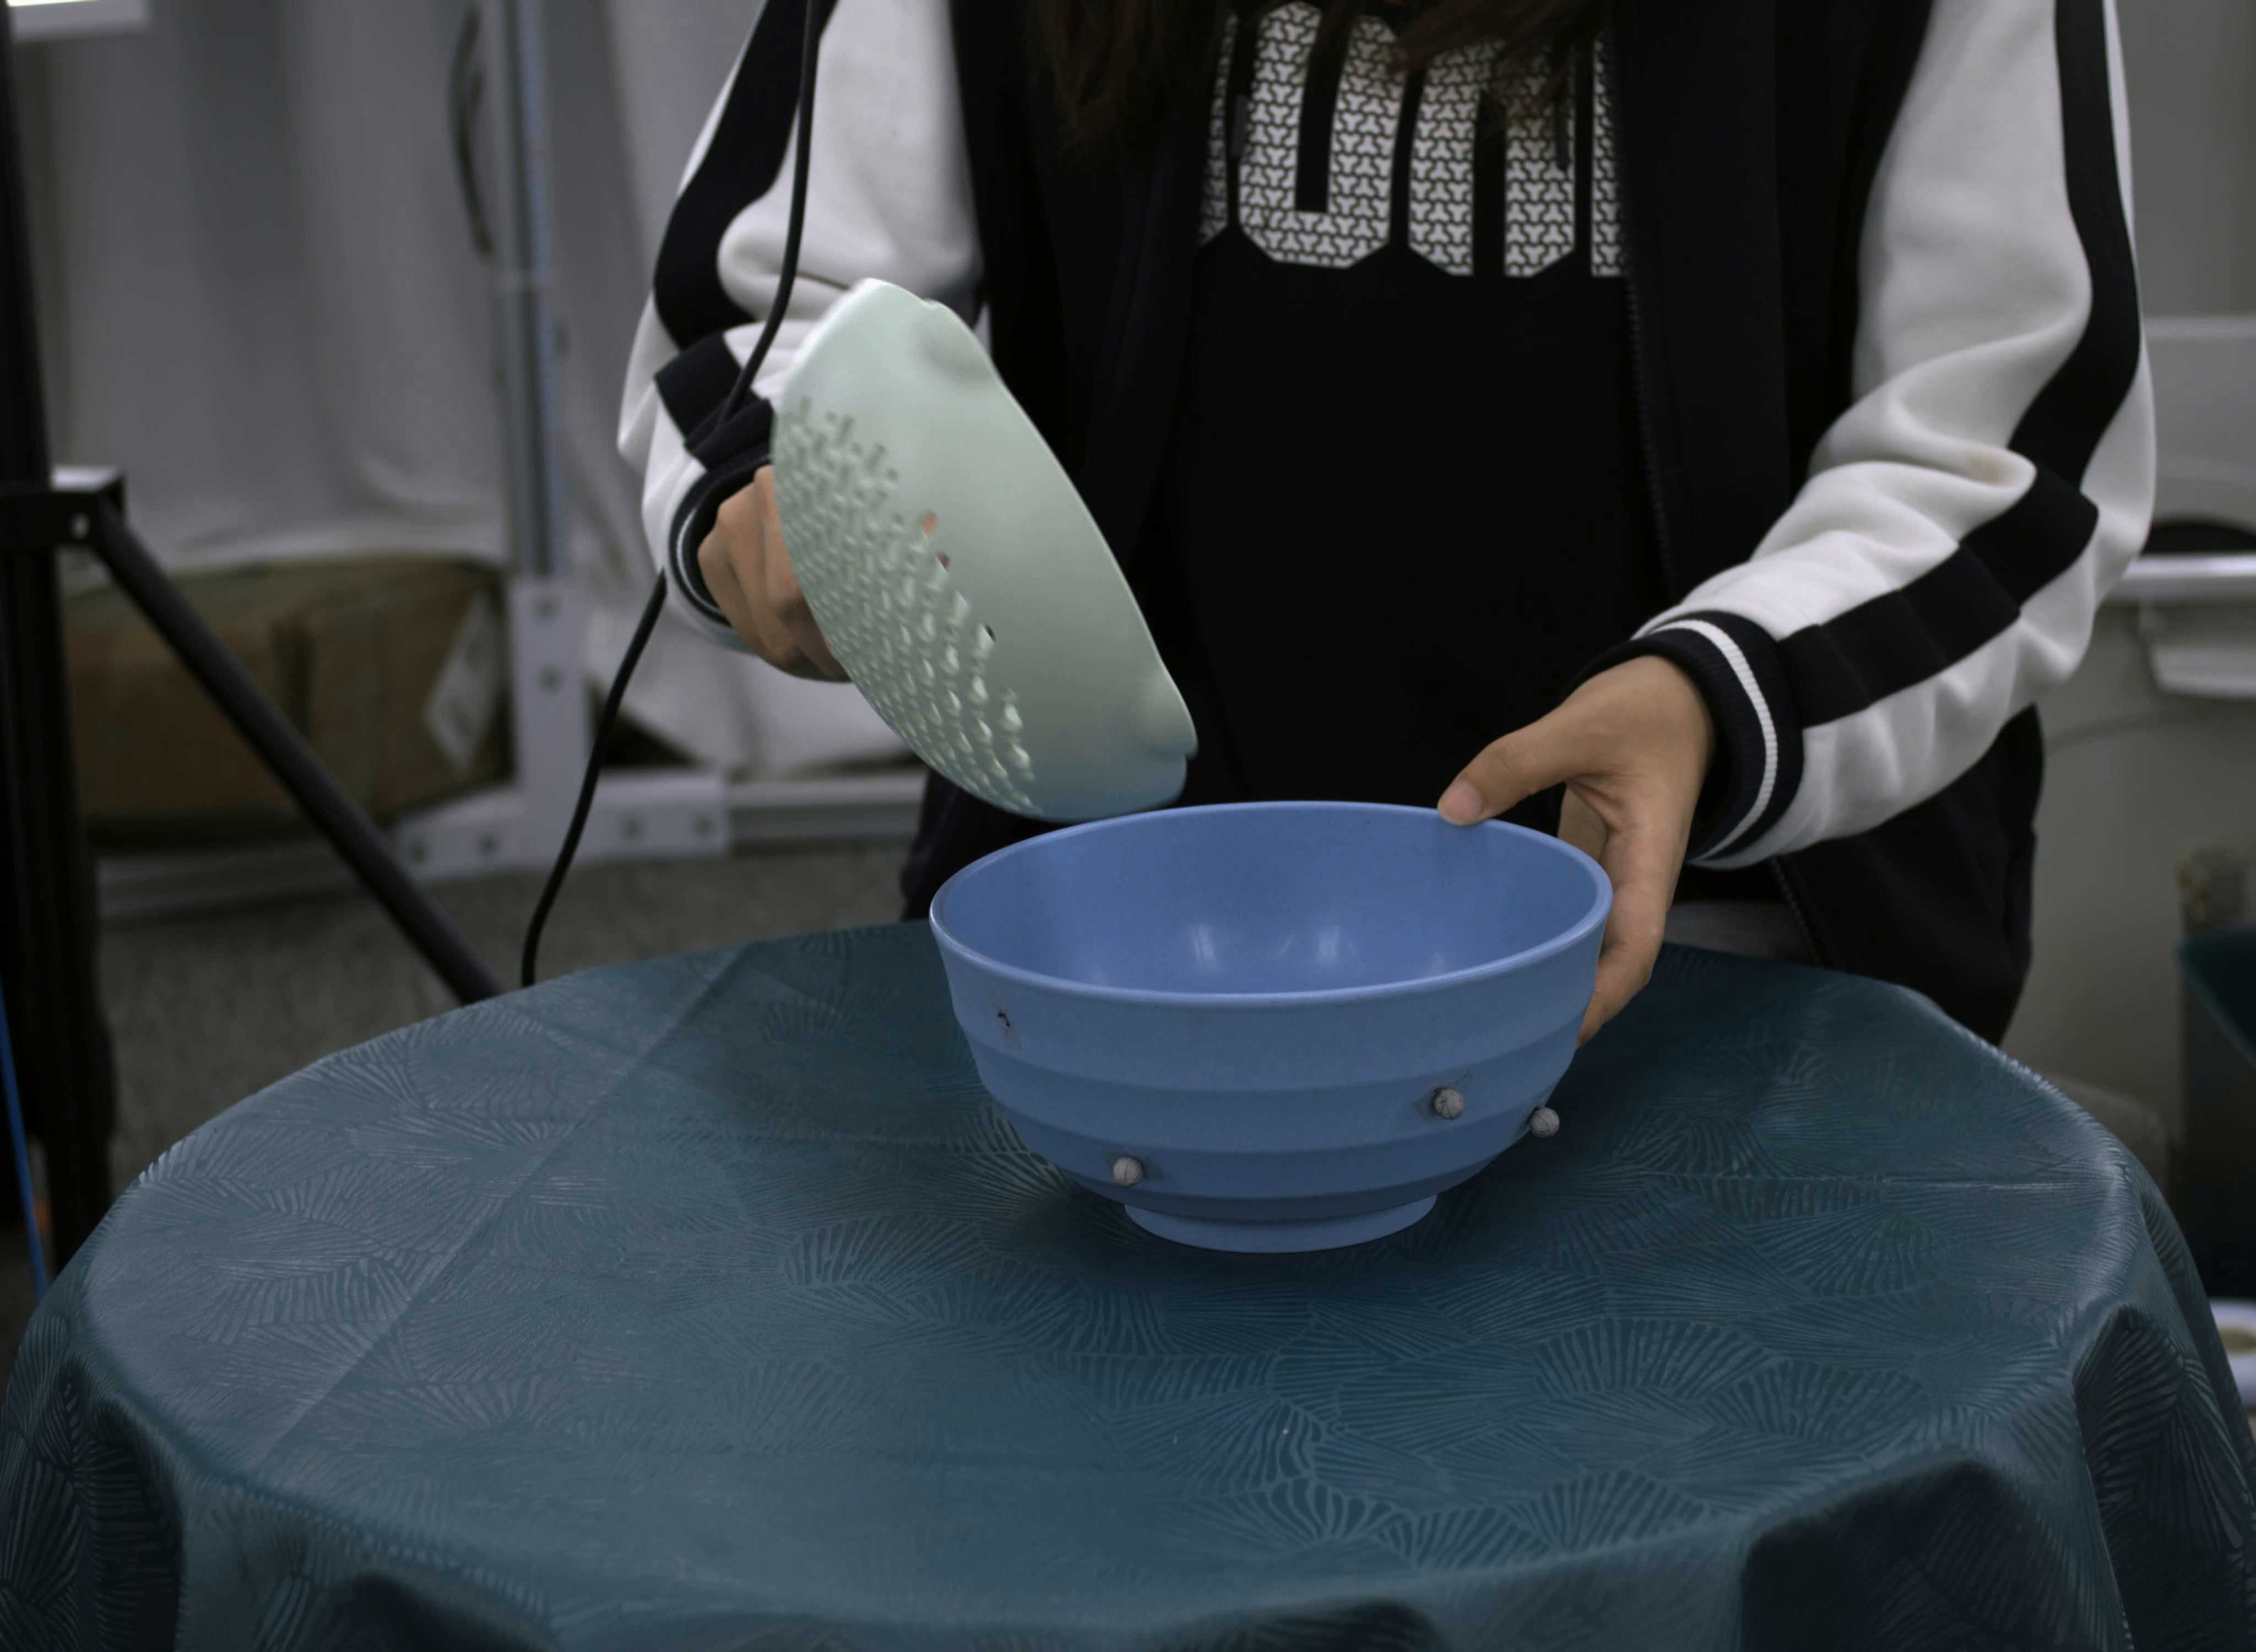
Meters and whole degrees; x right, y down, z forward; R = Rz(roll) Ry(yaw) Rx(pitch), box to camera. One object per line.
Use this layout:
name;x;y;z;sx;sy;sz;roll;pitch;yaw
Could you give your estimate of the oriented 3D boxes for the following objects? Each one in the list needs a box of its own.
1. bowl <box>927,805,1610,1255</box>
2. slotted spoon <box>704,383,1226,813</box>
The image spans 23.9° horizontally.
bowl;0.042;0.064;1.532;0.195;0.095;0.197;-3;15;-1
slotted spoon;-0.069;-0.060;1.592;0.168;0.075;0.361;38;-1;-8
